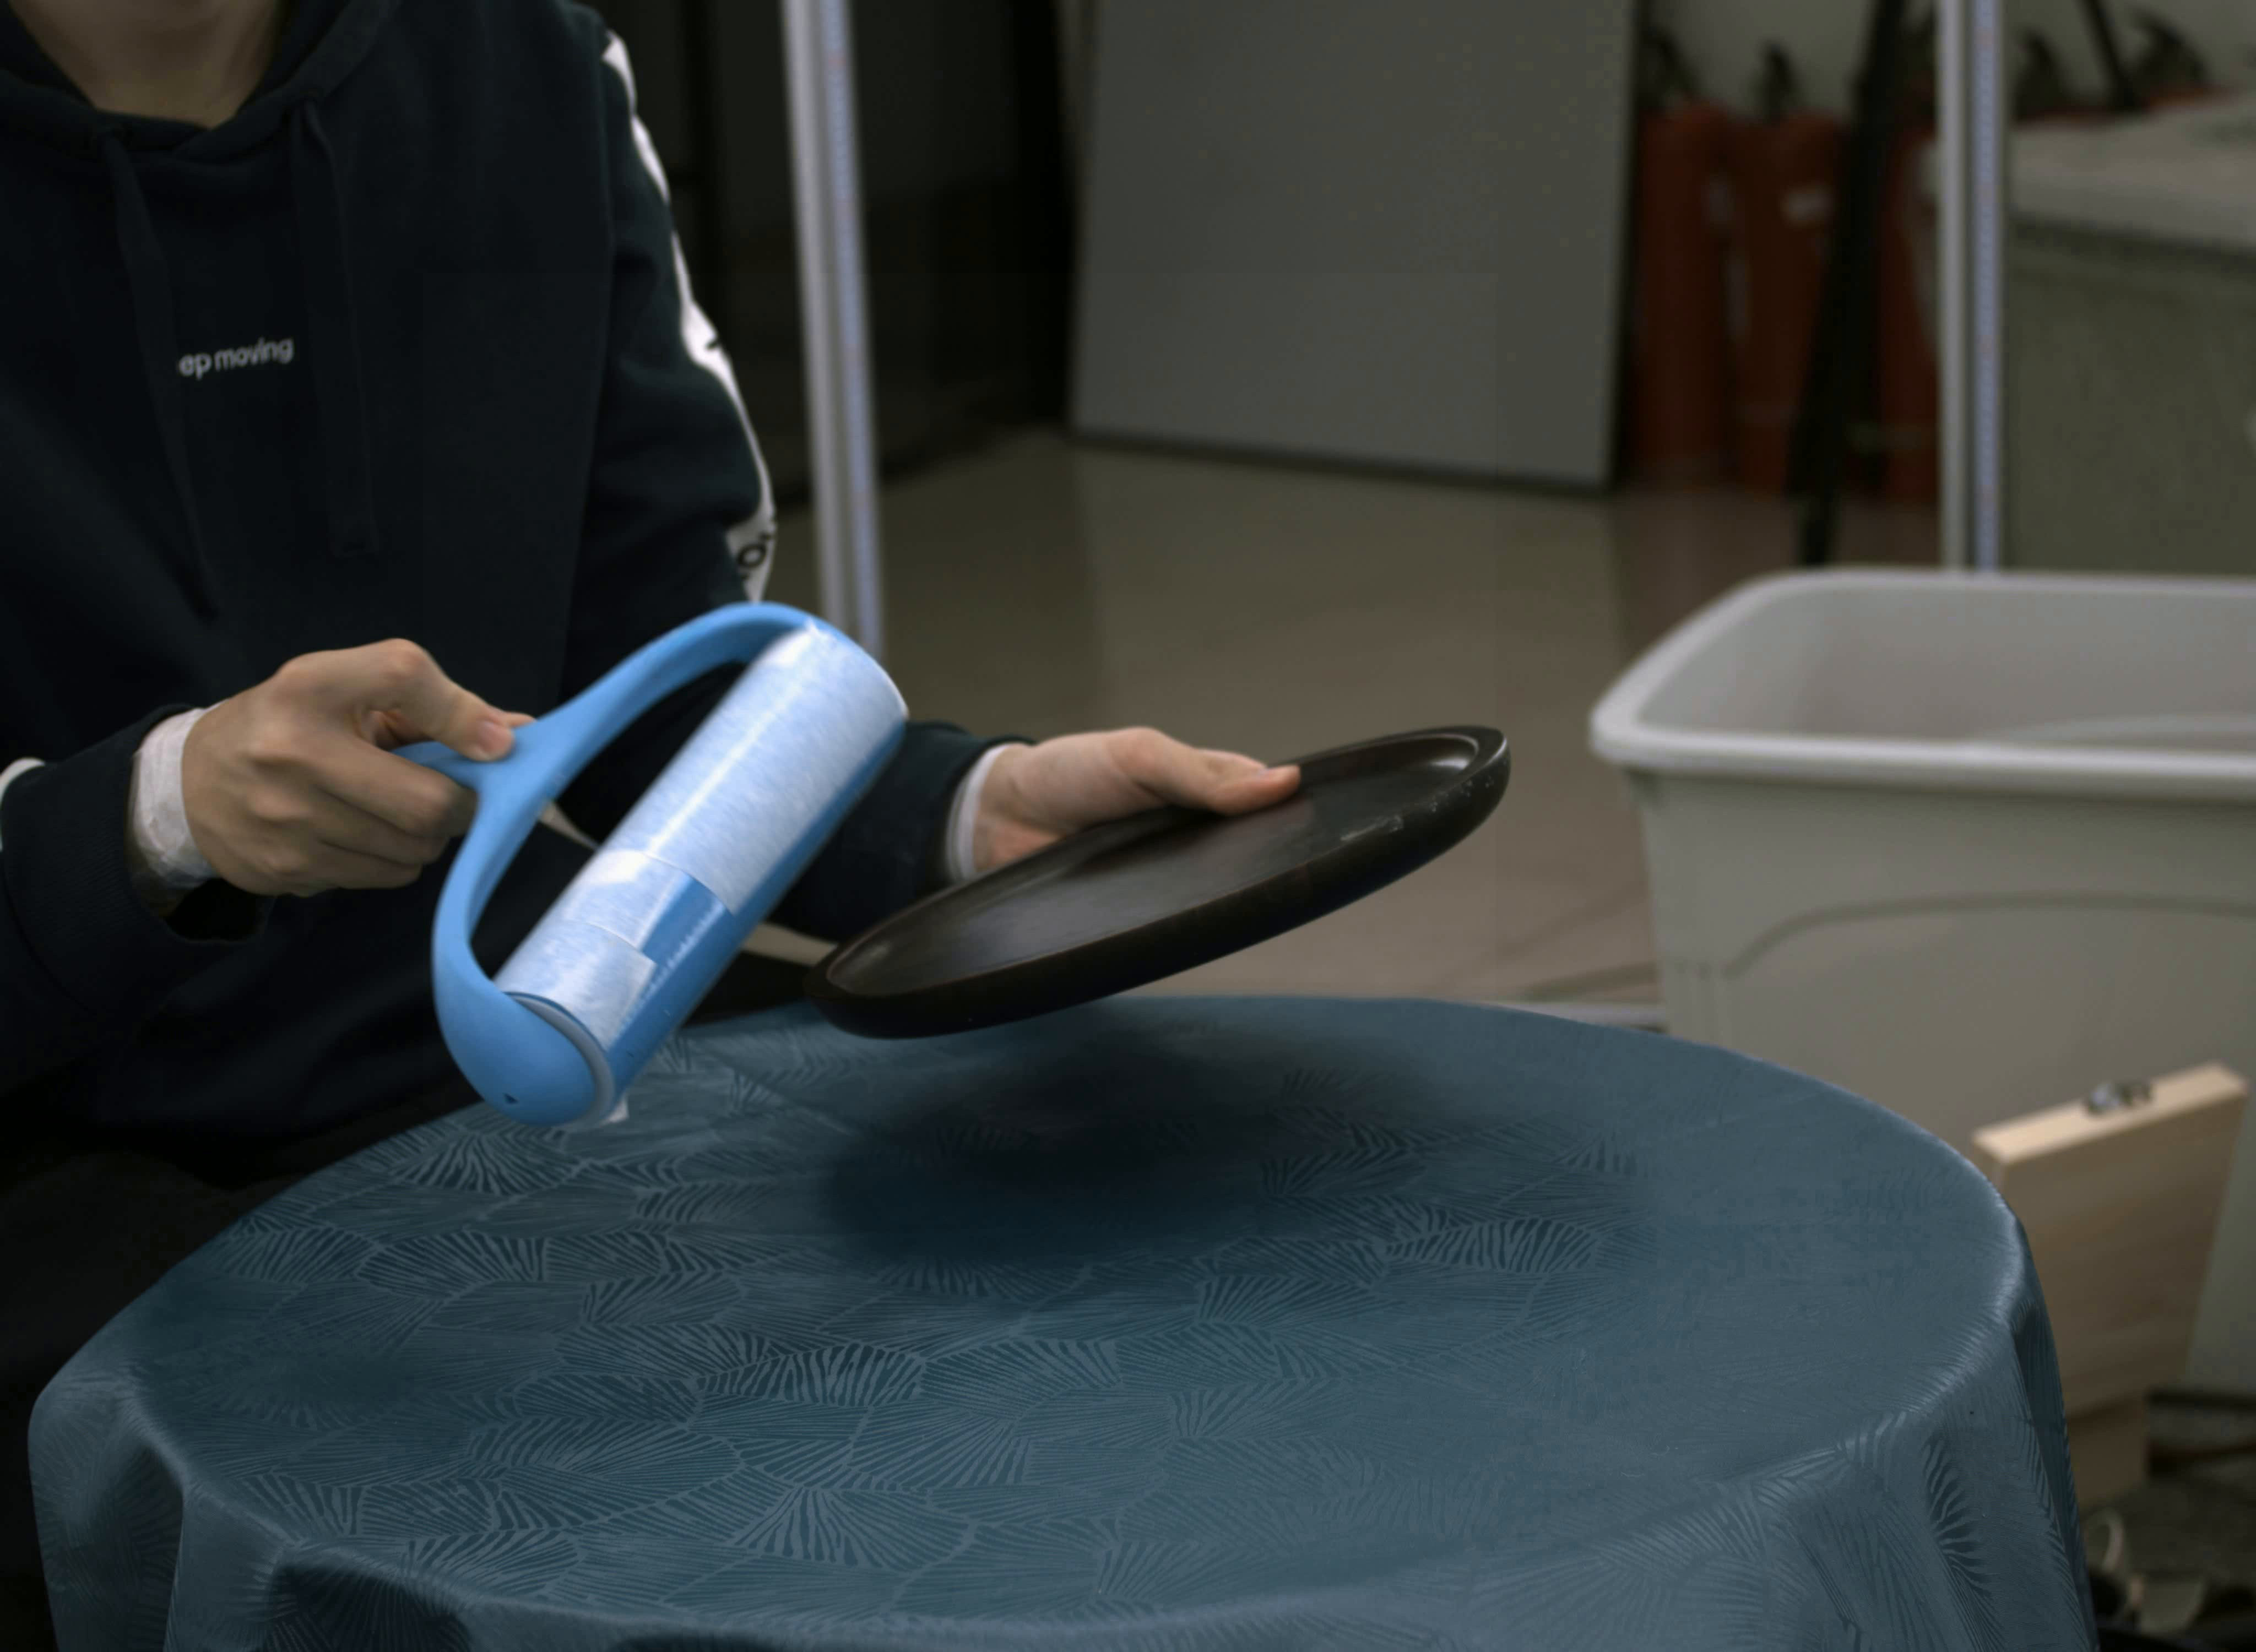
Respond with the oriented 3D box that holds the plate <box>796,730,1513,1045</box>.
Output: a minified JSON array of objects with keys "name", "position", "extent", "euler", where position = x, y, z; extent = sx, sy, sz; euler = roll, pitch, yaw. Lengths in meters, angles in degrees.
[{"name":"plate","position":[0.012,0.020,1.810],"extent":[0.252,0.029,0.255],"euler":[-19,7,1]}]

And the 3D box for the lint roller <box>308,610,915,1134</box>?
[{"name":"lint roller","position":[-0.186,0.004,1.711],"extent":[0.180,0.068,0.228],"euler":[11,42,21]}]
